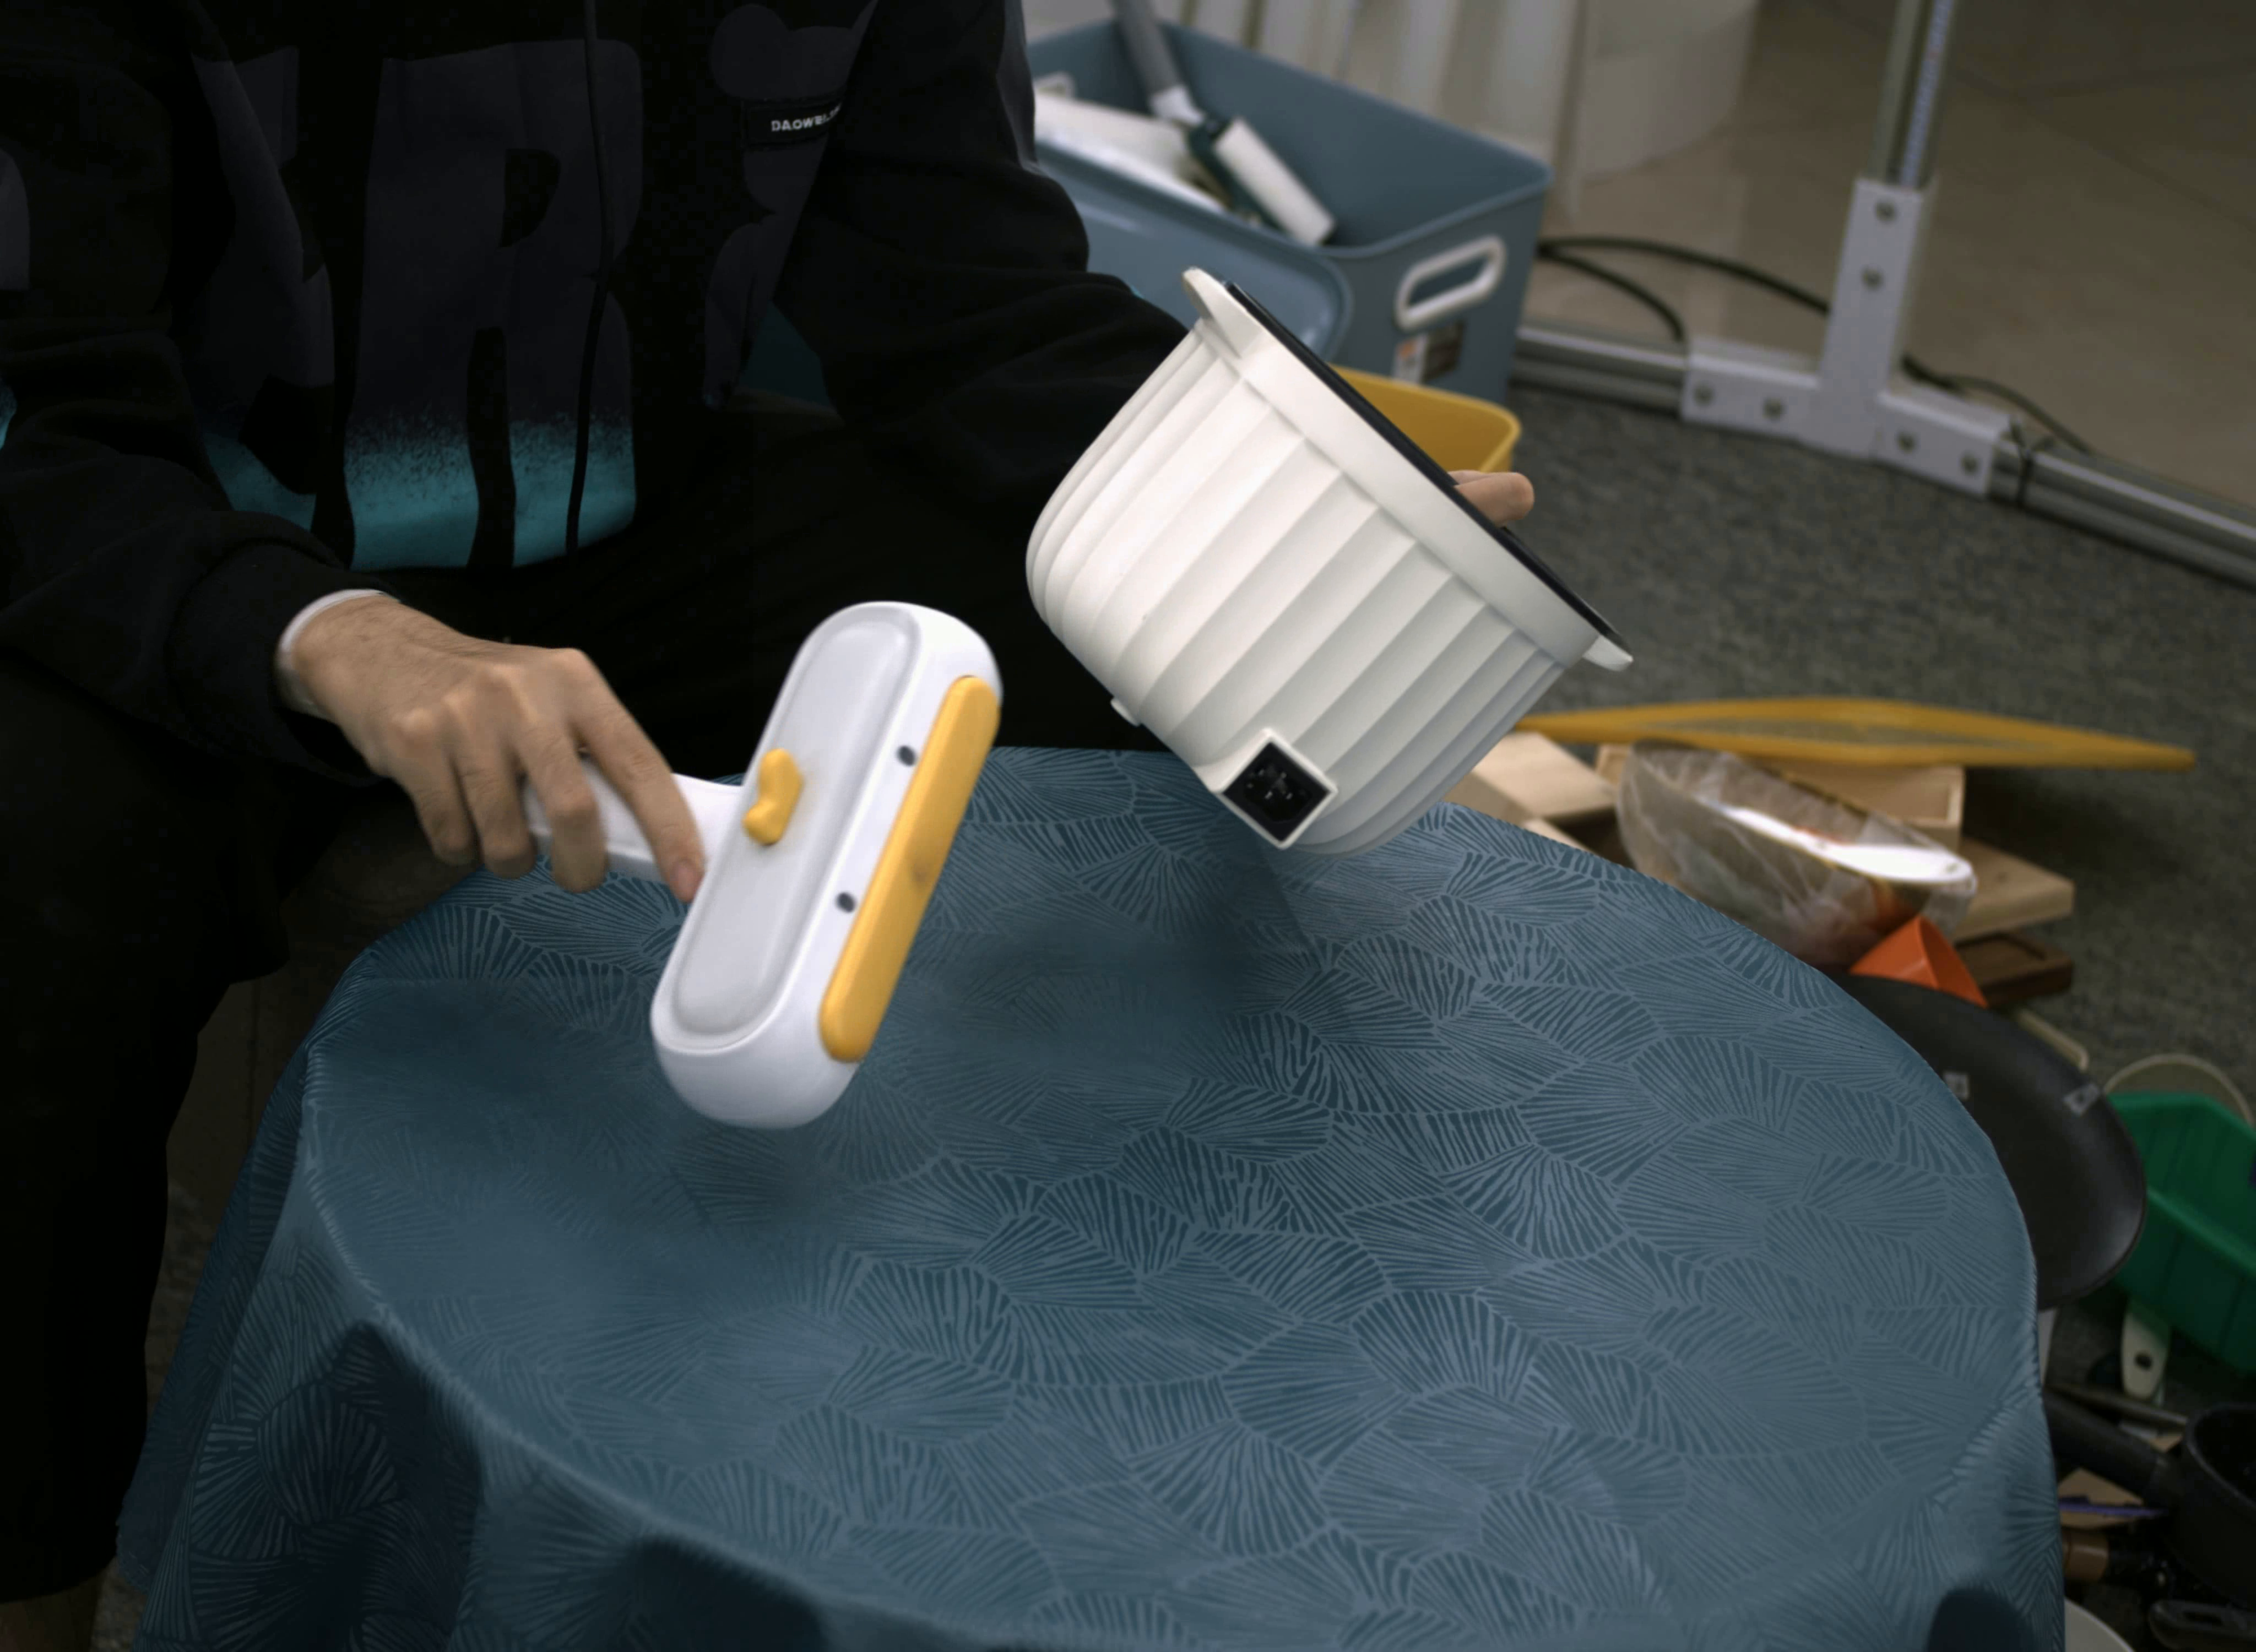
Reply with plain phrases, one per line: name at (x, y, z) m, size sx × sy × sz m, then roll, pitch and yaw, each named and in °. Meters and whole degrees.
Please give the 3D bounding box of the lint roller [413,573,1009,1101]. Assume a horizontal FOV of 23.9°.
lint roller at (-0.150, -0.003, 1.800) m, size 0.193 × 0.073 × 0.194 m, roll 2°, pitch 63°, yaw 28°

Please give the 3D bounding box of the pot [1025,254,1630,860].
pot at (0.056, -0.085, 1.890) m, size 0.238 × 0.142 × 0.192 m, roll 41°, pitch 8°, yaw -29°
